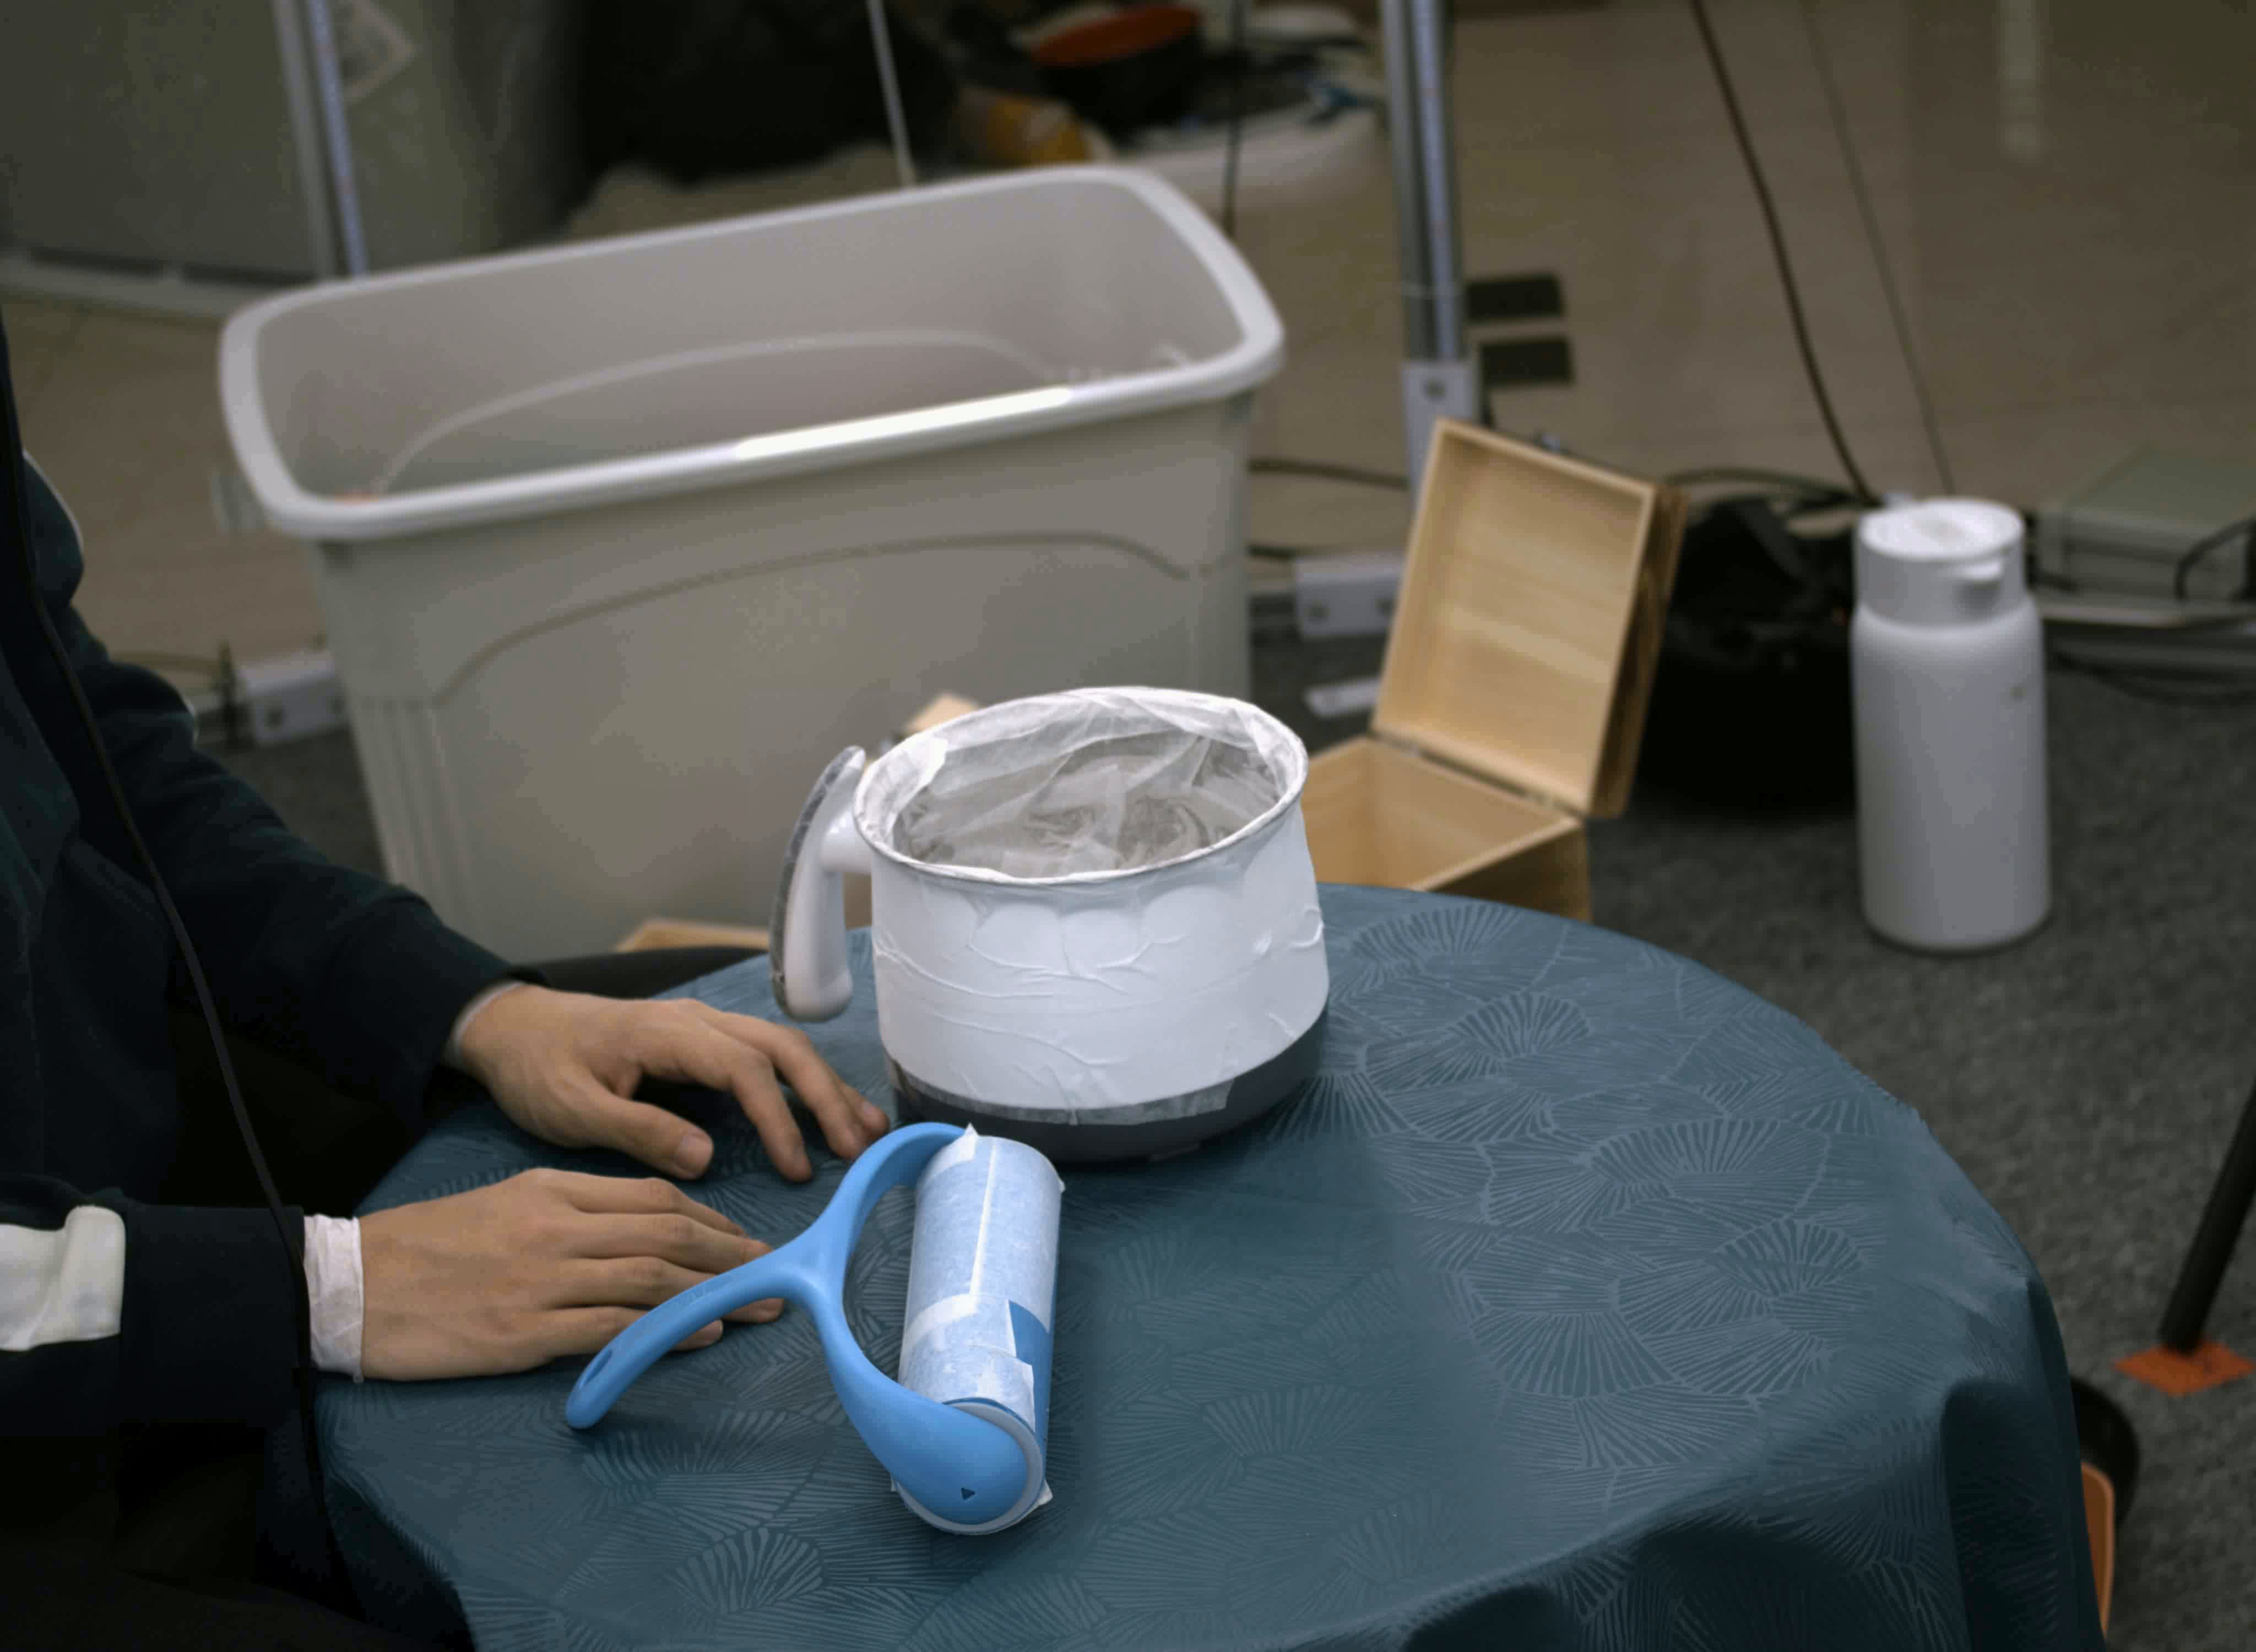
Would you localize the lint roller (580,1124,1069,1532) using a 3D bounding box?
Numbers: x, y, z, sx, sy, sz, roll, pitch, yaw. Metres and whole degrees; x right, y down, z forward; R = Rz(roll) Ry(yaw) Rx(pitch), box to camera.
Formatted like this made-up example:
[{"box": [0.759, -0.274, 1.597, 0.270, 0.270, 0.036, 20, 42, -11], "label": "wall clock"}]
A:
[{"box": [-0.108, 0.182, 2.012, 0.180, 0.069, 0.225, -6, 27, -1], "label": "lint roller"}]

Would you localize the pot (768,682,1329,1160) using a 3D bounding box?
[{"box": [-0.037, 0.036, 2.205, 0.233, 0.139, 0.176, 7, 28, 23], "label": "pot"}]
